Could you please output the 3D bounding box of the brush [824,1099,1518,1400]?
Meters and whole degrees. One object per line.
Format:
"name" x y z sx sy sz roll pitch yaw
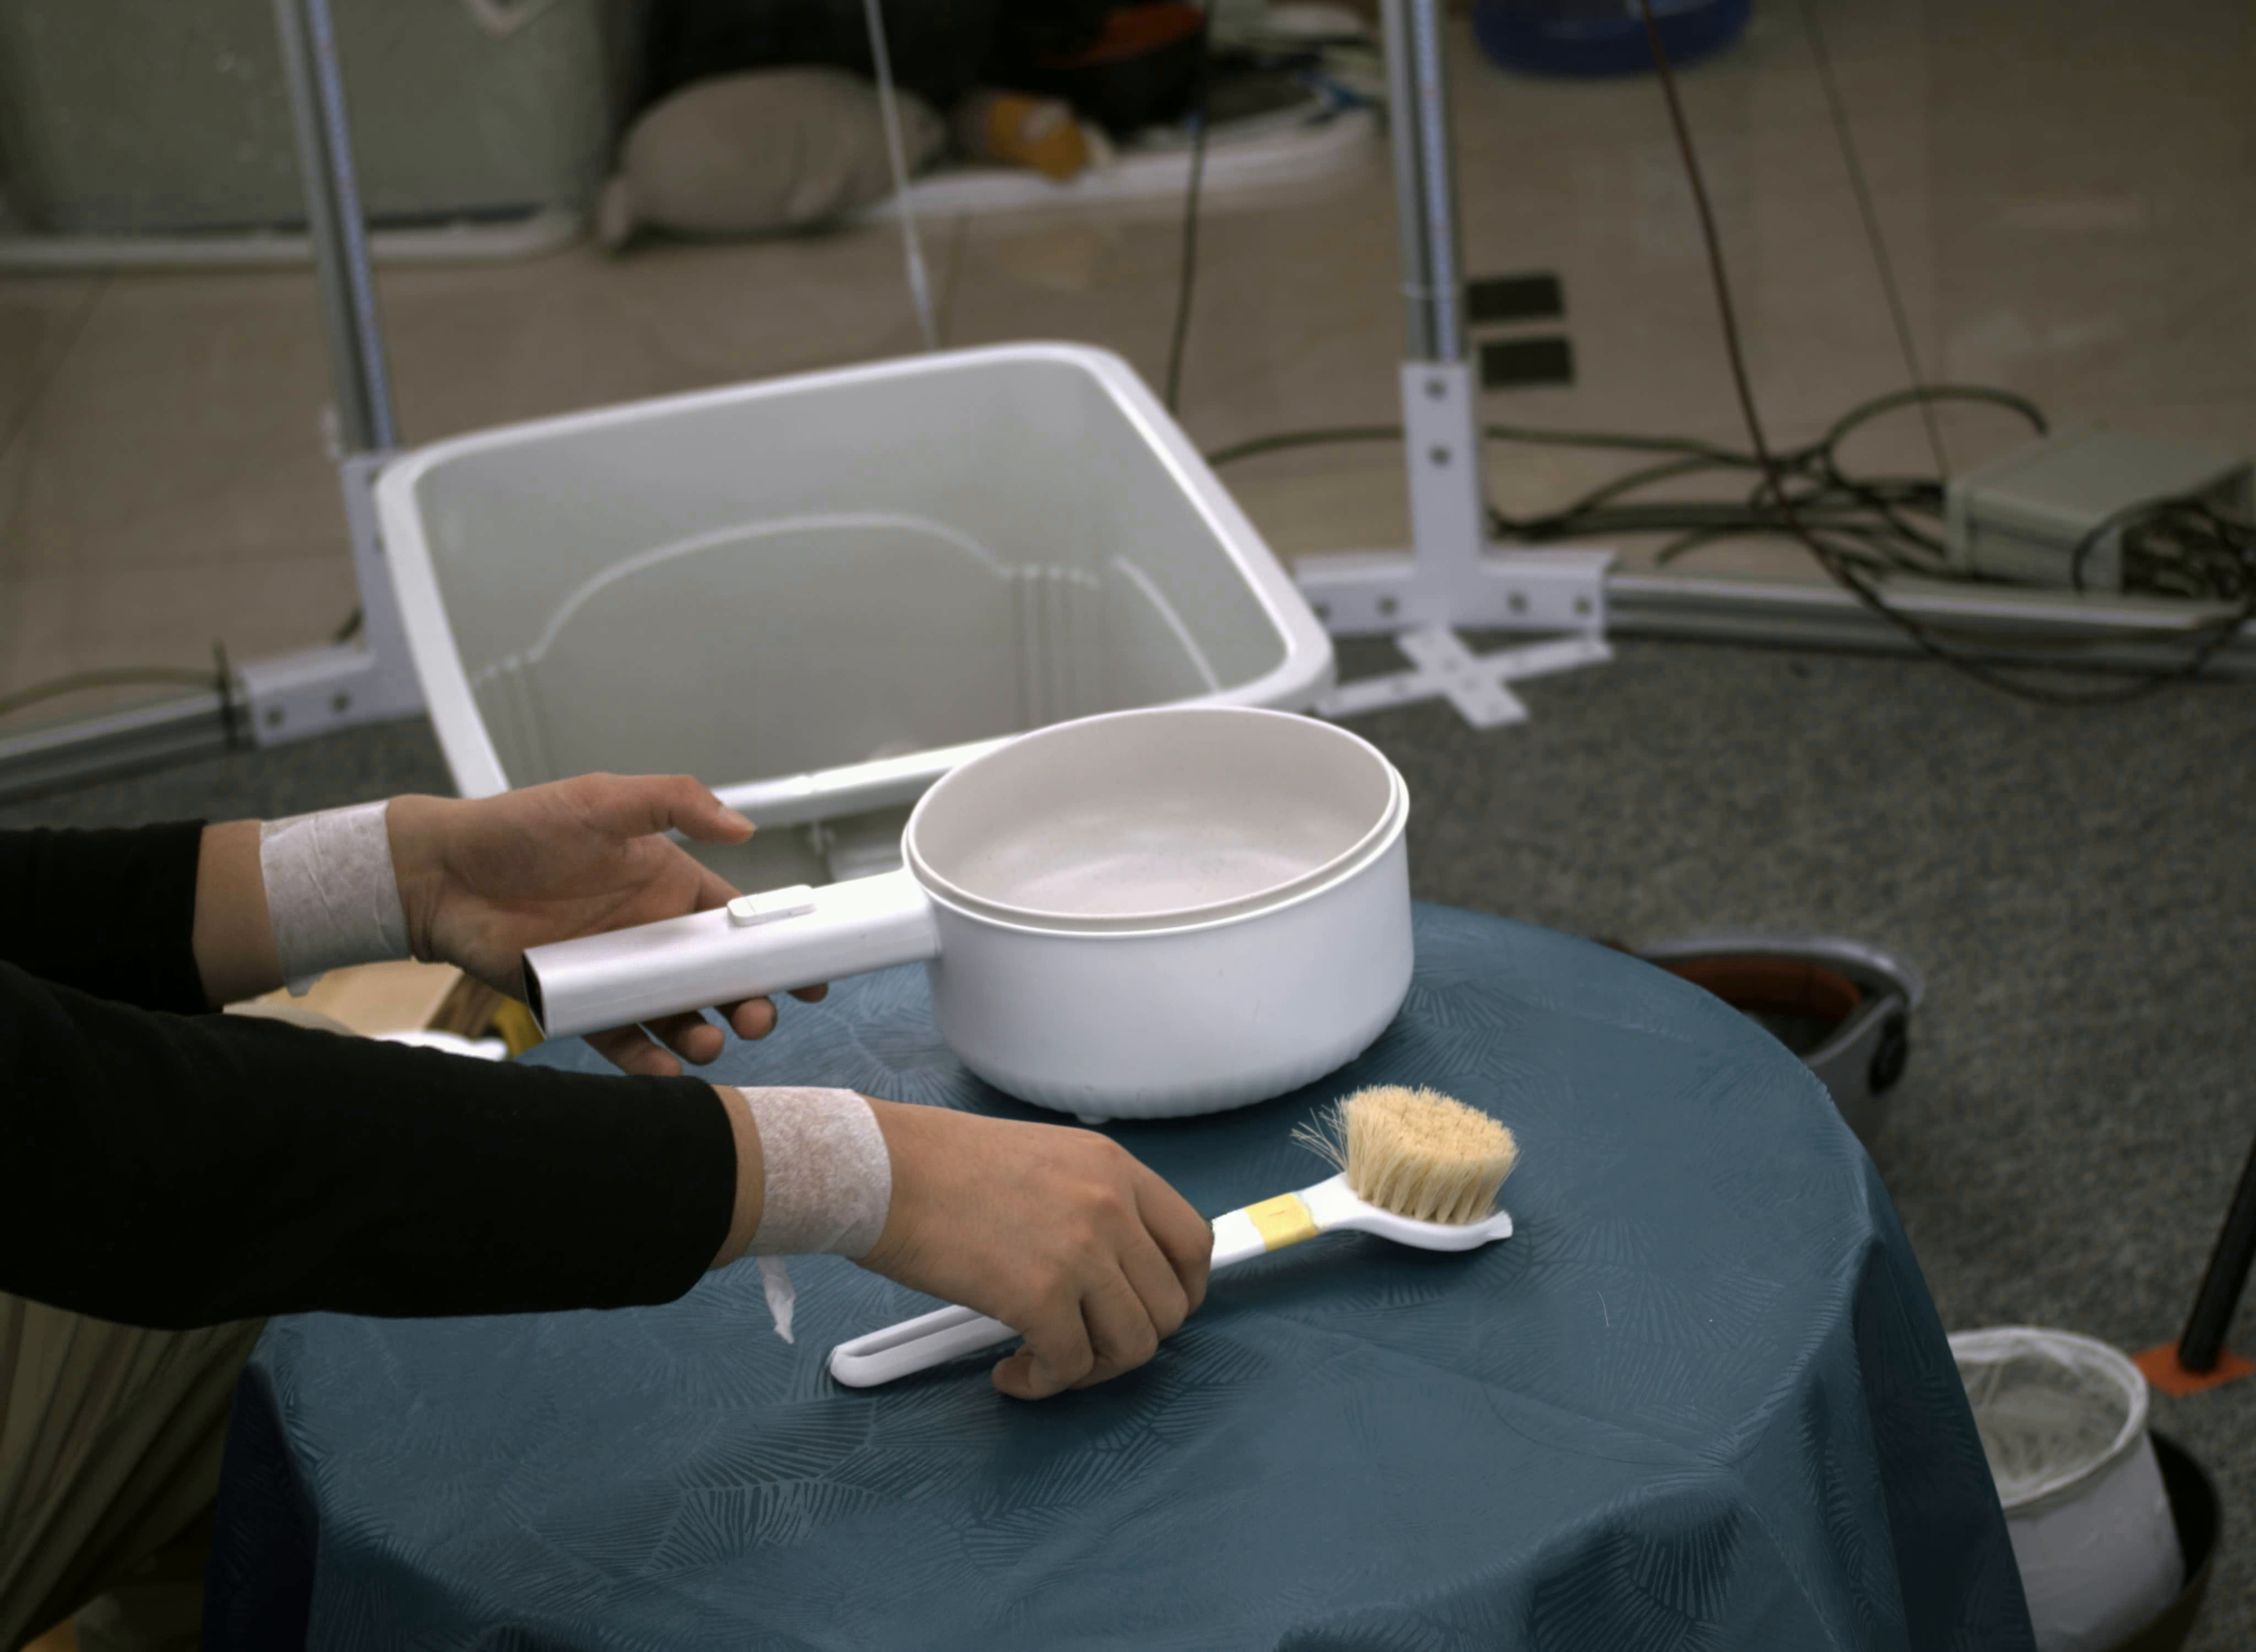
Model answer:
"brush" 0.015 0.151 2.055 0.266 0.057 0.068 -13 21 -11

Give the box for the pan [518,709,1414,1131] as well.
"pan" -0.058 0.057 2.222 0.353 0.104 0.198 -14 27 -13
